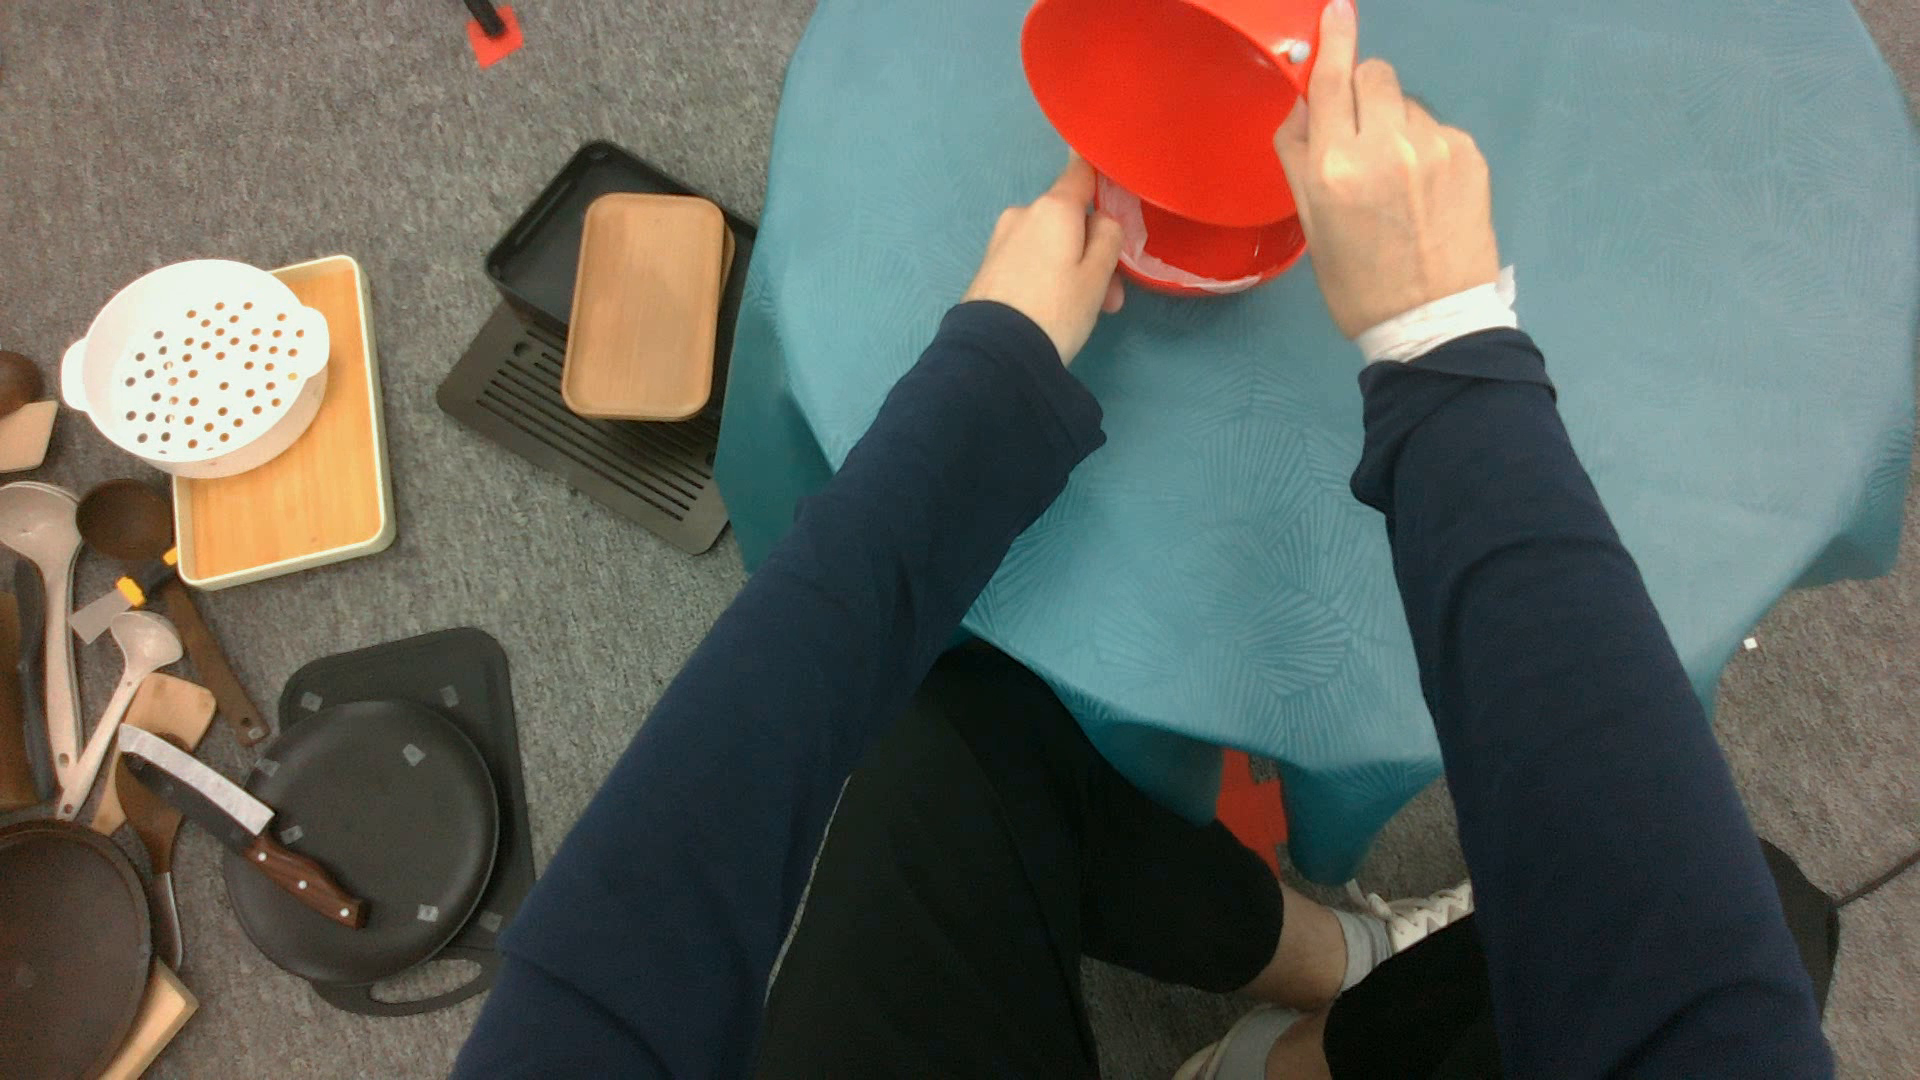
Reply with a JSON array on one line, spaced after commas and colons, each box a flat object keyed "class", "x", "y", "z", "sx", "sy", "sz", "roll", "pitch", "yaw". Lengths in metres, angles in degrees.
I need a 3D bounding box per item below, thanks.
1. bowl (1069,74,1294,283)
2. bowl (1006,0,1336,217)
[{"class": "bowl", "x": 0.109, "y": -0.175, "z": 0.700, "sx": 0.119, "sy": 0.051, "sz": 0.119, "roll": 0, "pitch": 75, "yaw": 0}, {"class": "bowl", "x": 0.109, "y": -0.224, "z": 0.623, "sx": 0.148, "sy": 0.147, "sz": 0.105, "roll": 34, "pitch": 69, "yaw": 10}]
